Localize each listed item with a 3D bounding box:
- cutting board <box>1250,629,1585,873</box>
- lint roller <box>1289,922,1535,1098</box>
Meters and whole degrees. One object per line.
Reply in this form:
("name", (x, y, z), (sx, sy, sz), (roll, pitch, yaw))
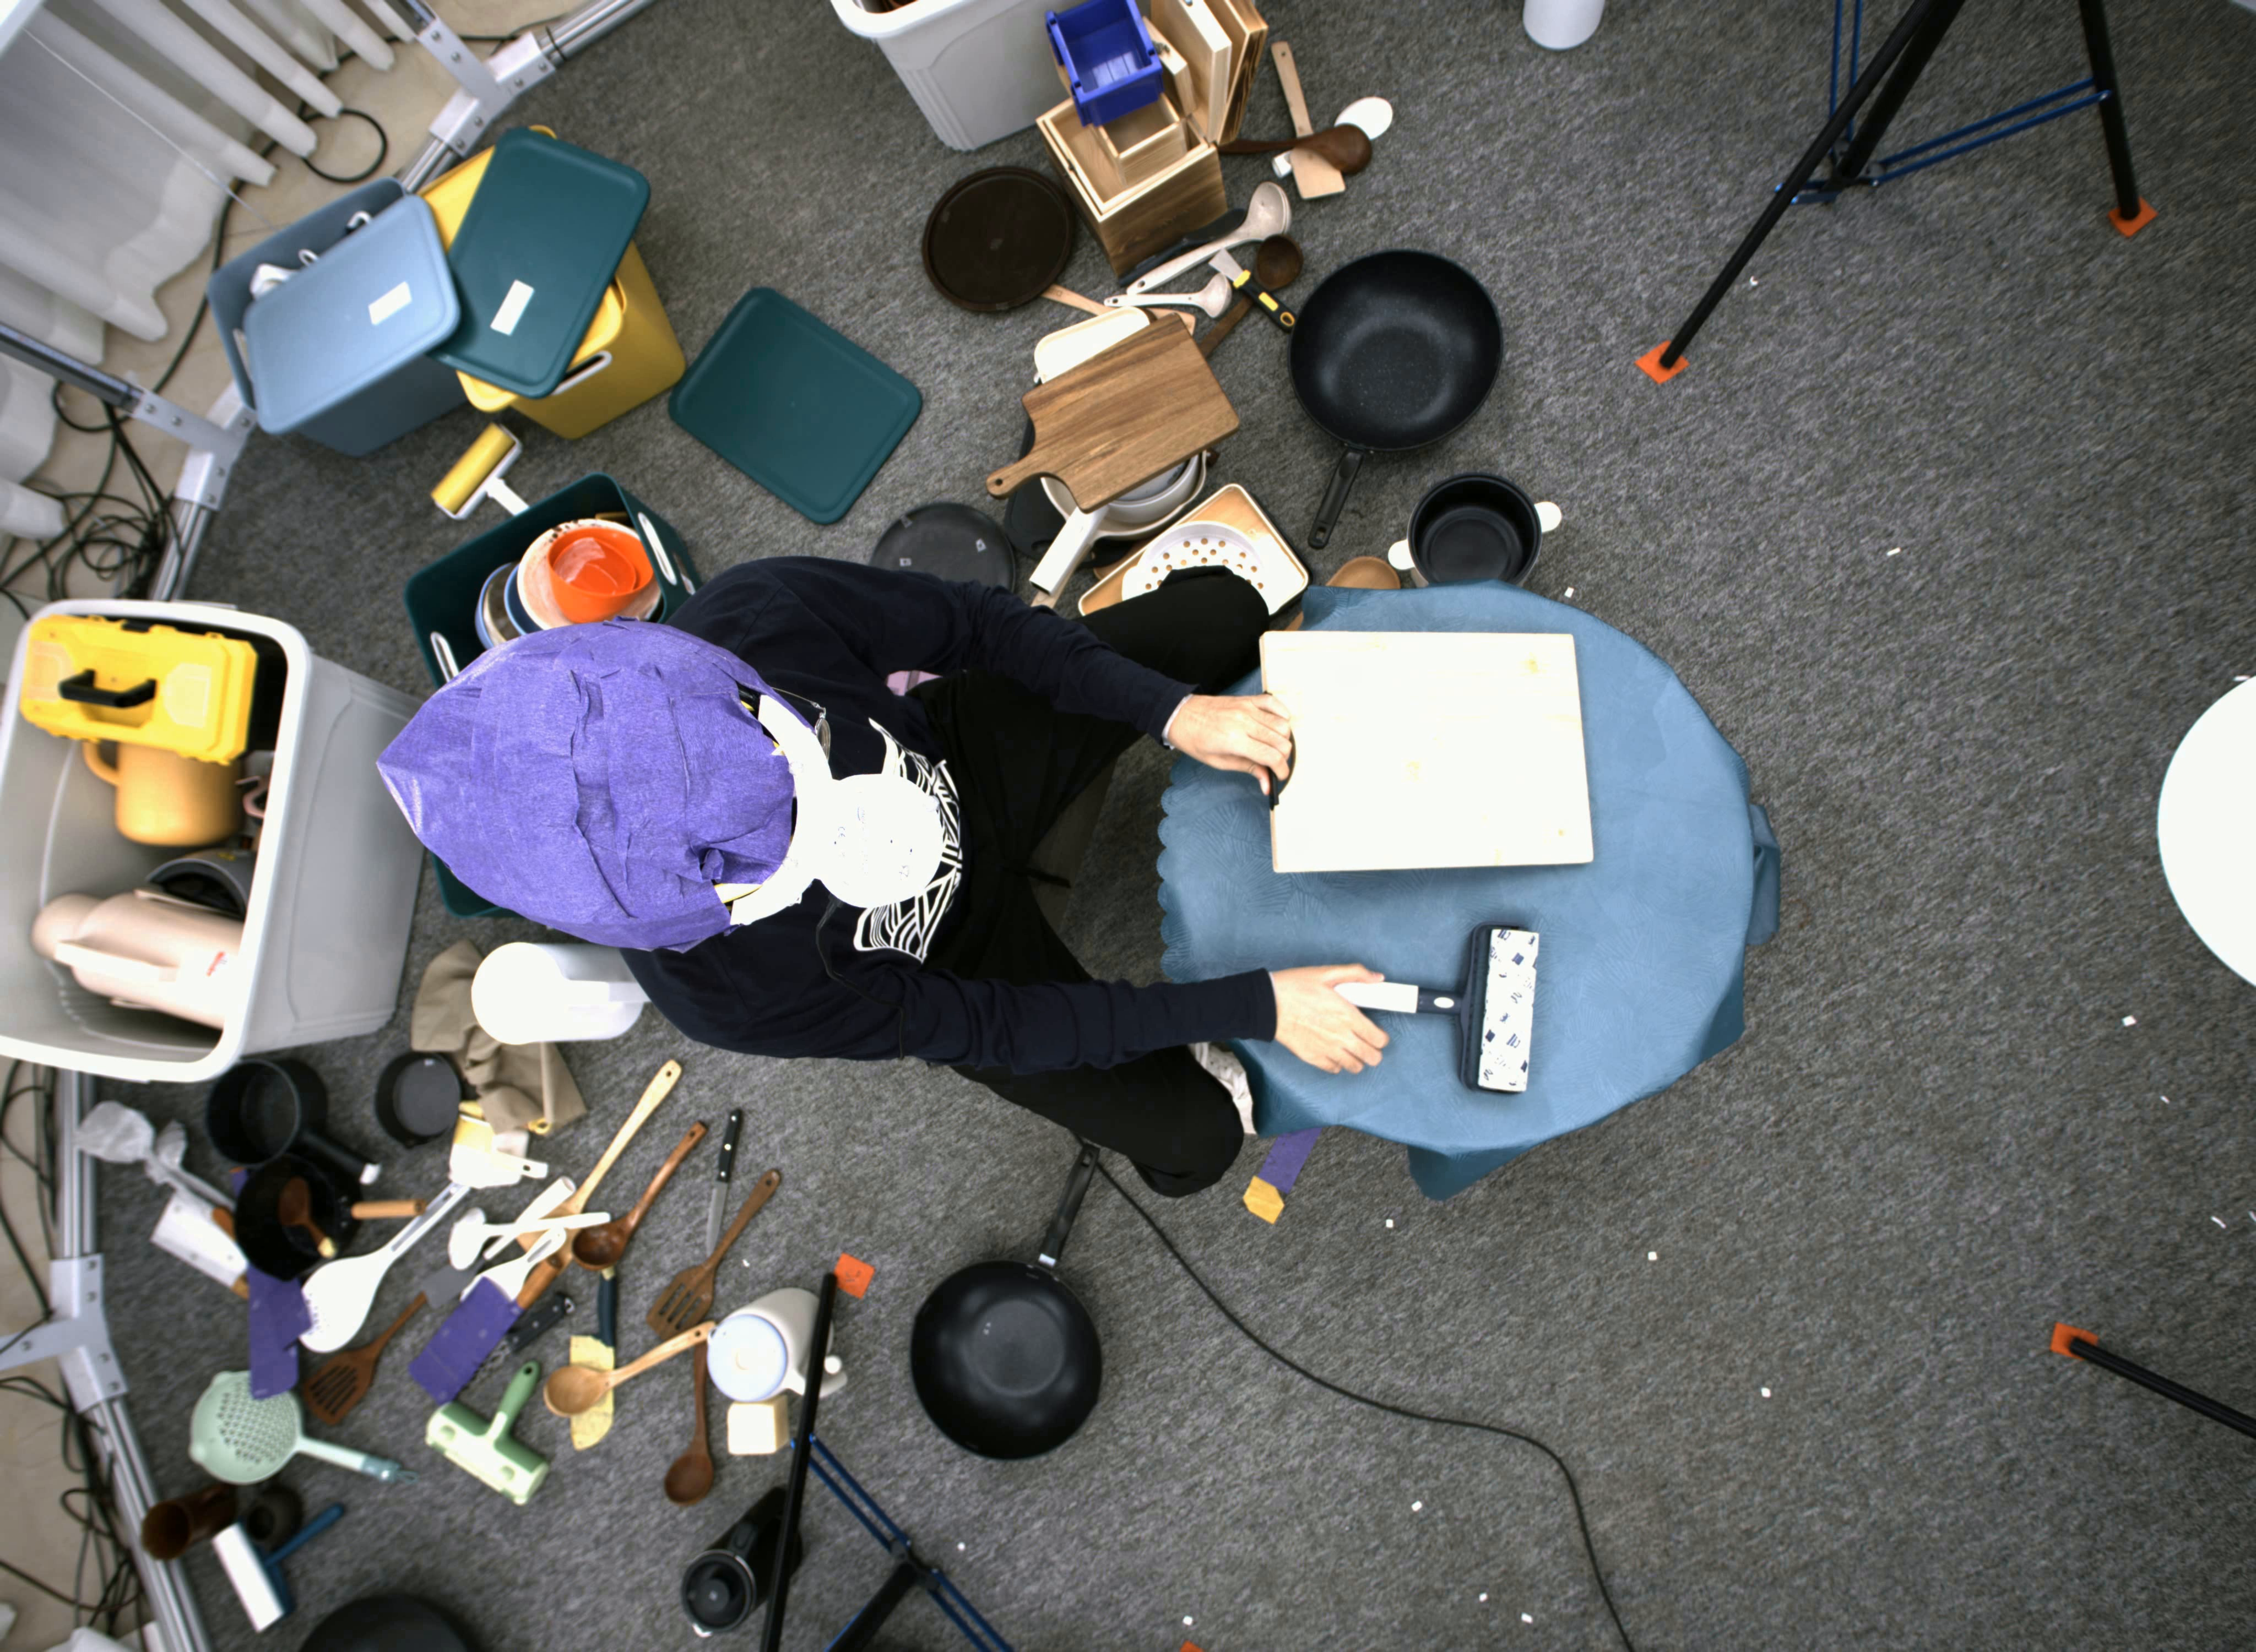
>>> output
("cutting board", (0.298, -0.078, 1.391), (0.348, 0.024, 0.249), (-2, 85, -11))
("lint roller", (0.289, 0.178, 1.429), (0.248, 0.050, 0.176), (4, 89, 13))
